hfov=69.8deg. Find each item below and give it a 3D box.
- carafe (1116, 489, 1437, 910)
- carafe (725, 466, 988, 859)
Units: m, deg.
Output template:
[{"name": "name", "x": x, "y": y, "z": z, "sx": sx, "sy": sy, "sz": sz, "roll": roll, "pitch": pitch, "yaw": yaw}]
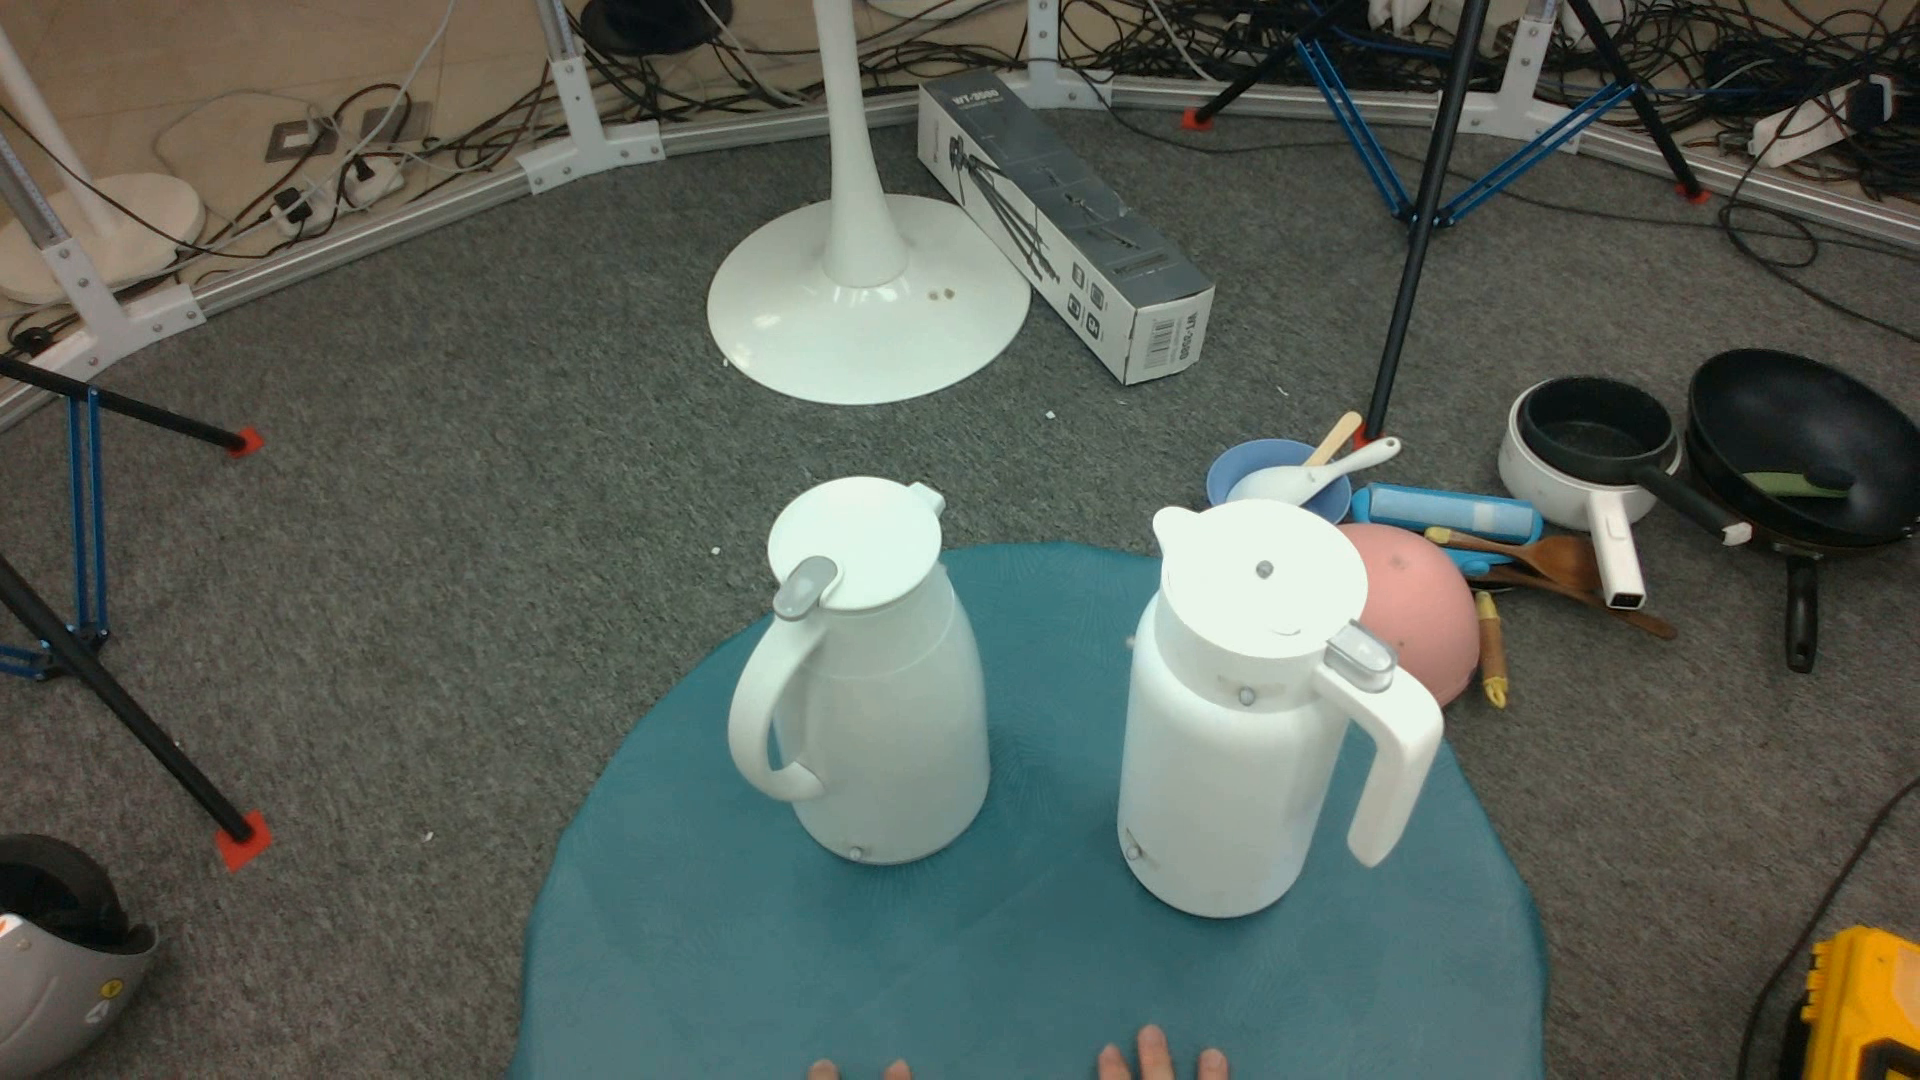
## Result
[{"name": "carafe", "x": 0.163, "y": 0.105, "z": 0.757, "sx": 0.124, "sy": 0.267, "sz": 0.173, "roll": -35, "pitch": 57, "yaw": -27}, {"name": "carafe", "x": -0.064, "y": 0.082, "z": 0.797, "sx": 0.132, "sy": 0.247, "sz": 0.168, "roll": 29, "pitch": 57, "yaw": 24}]
